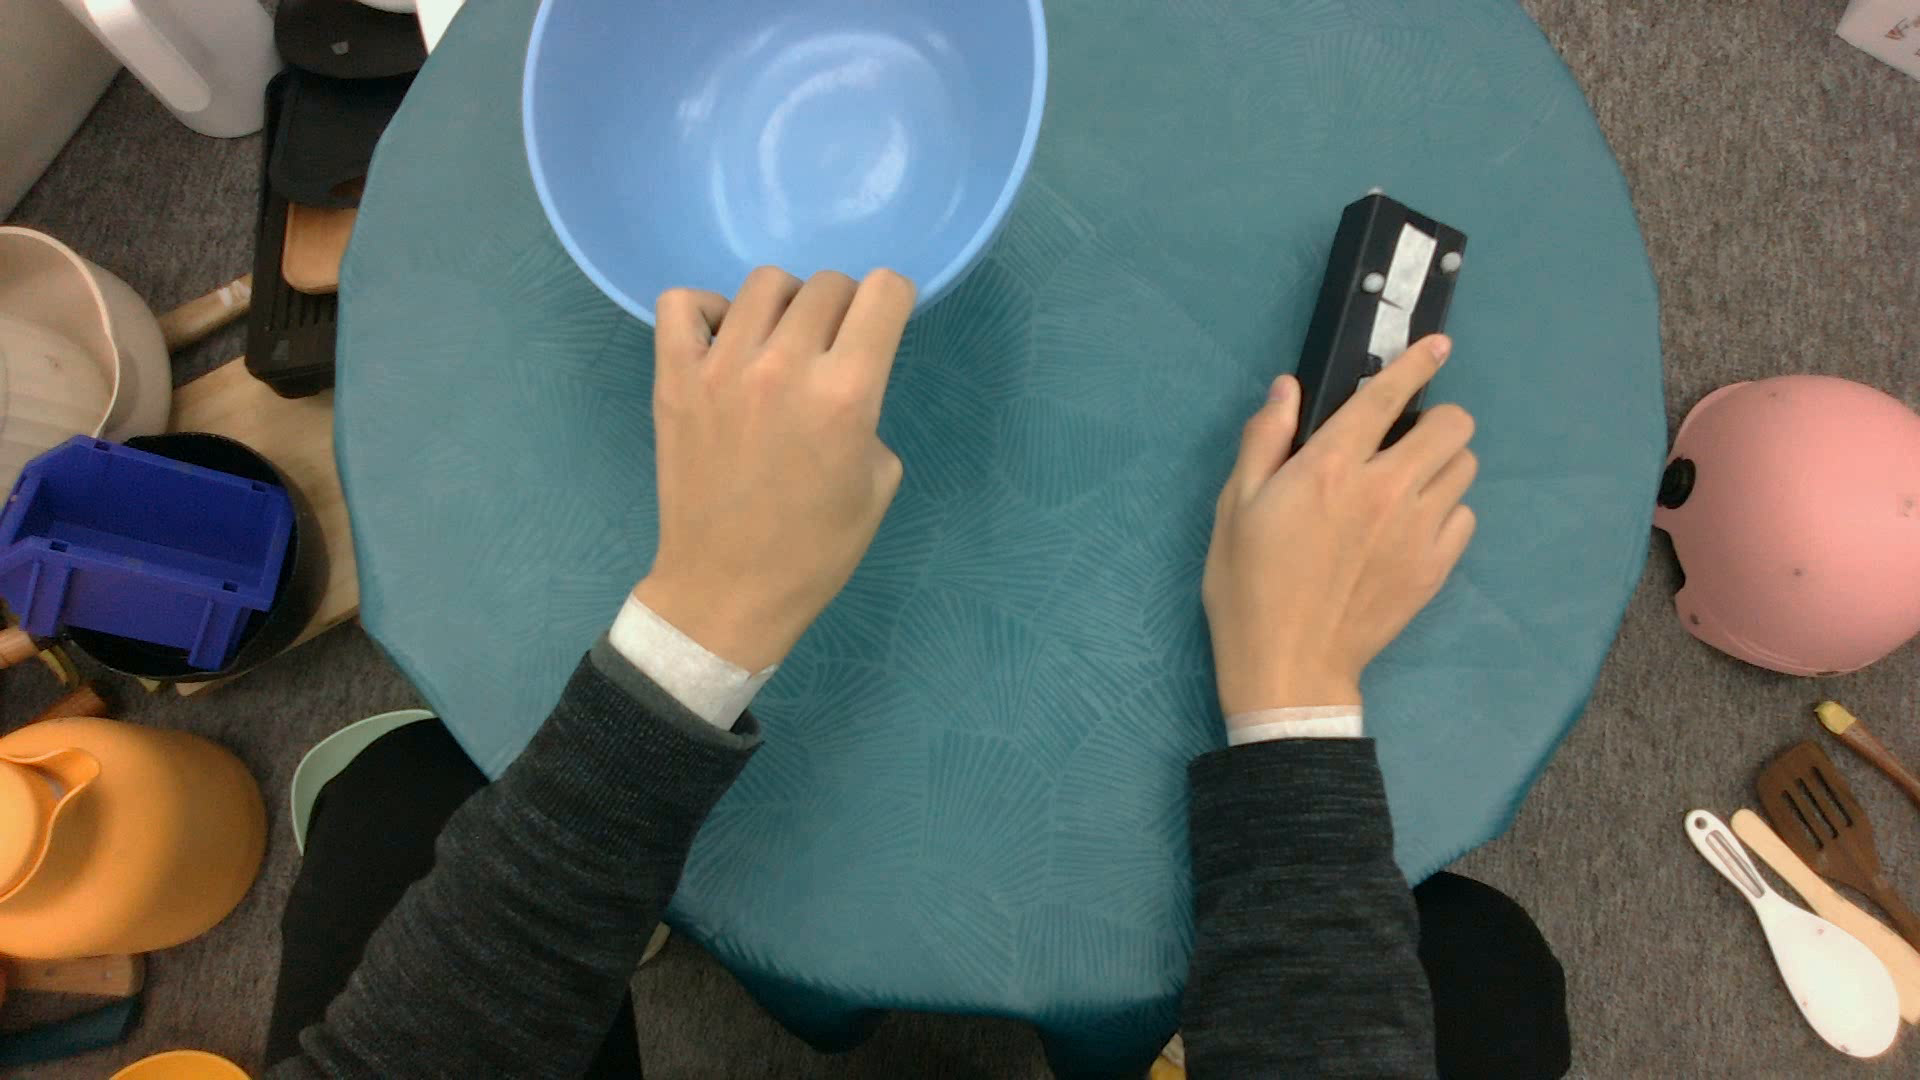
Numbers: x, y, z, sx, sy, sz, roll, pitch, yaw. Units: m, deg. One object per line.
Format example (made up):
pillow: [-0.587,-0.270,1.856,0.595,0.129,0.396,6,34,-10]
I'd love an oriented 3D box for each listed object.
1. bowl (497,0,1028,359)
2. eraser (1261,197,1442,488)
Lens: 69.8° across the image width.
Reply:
bowl: [-0.071,-0.159,0.548,0.196,0.095,0.196,0,84,2]
eraser: [0.175,-0.089,0.614,0.053,0.030,0.126,19,74,-6]
